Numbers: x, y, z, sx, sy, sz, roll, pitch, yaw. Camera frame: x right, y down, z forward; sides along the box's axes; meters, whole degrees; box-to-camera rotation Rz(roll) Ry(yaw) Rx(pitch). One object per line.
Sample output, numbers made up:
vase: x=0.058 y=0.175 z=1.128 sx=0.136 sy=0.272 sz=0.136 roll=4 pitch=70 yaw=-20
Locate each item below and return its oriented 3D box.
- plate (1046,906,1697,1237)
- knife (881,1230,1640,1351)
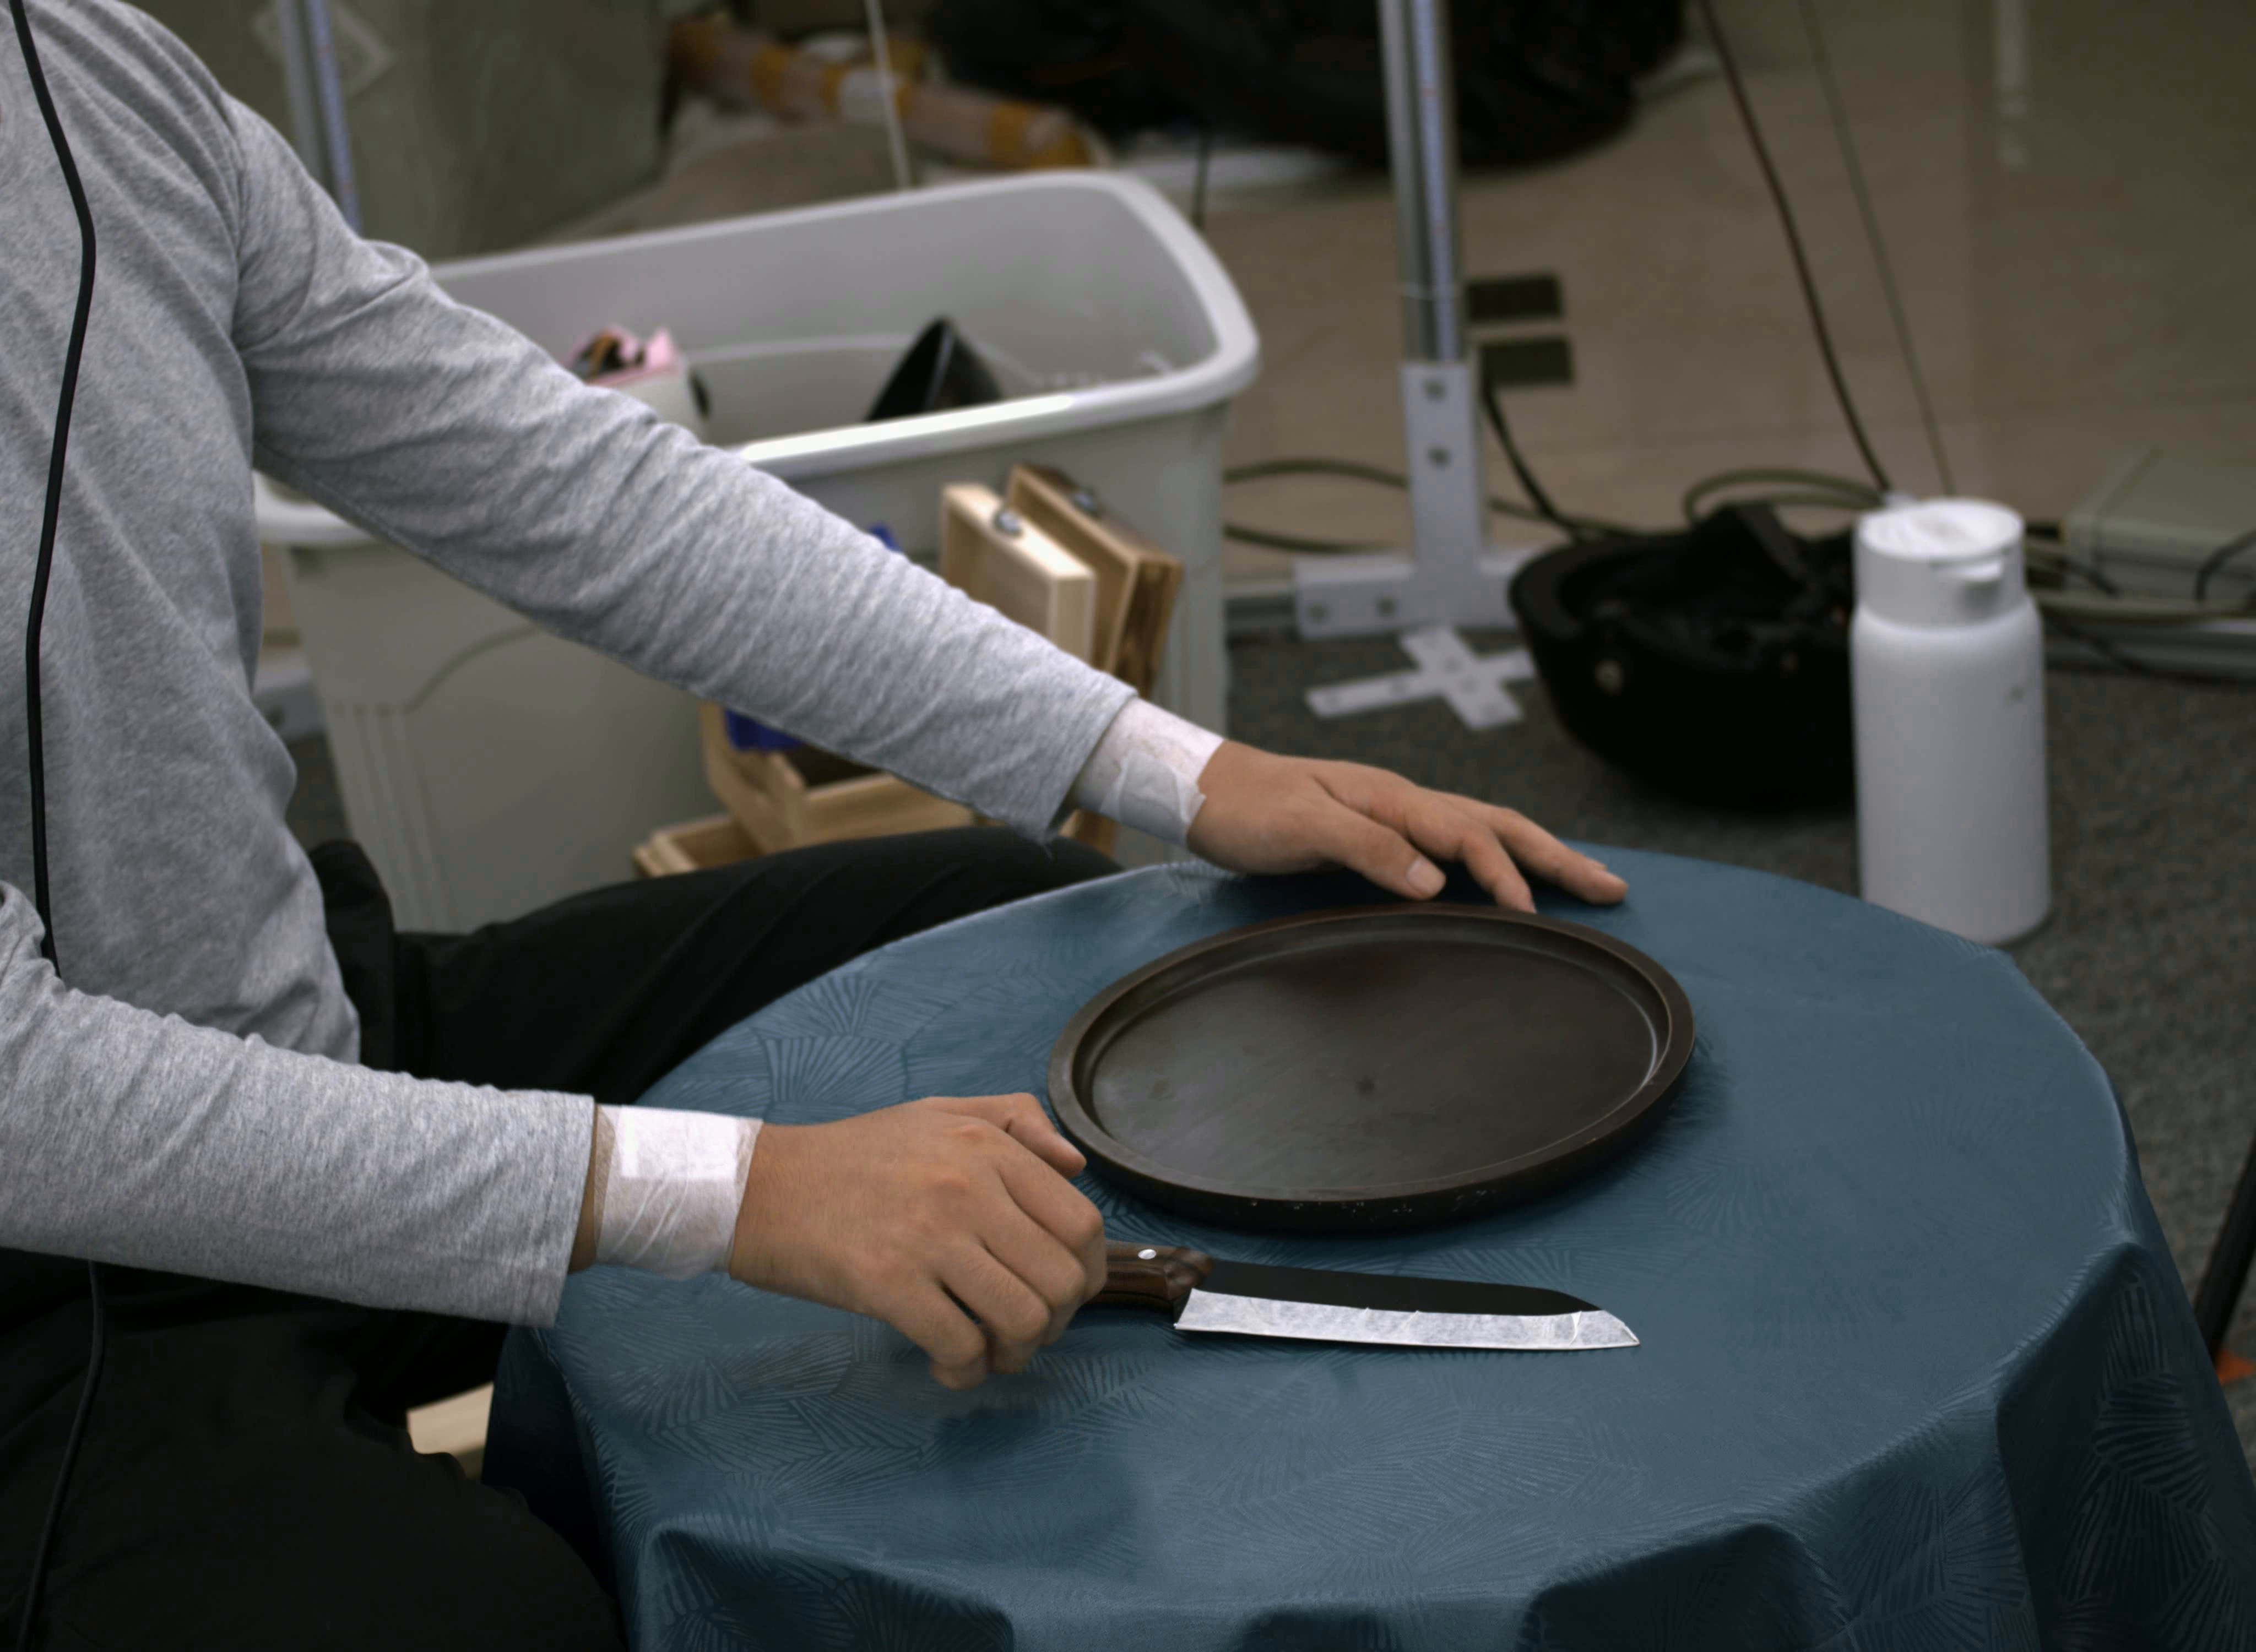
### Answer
plate: x=0.094 y=0.093 z=2.198 sx=0.254 sy=0.029 sz=0.251 roll=-7 pitch=26 yaw=3
knife: x=0.044 y=0.170 z=2.056 sx=0.288 sy=0.020 sz=0.049 roll=4 pitch=32 yaw=17
